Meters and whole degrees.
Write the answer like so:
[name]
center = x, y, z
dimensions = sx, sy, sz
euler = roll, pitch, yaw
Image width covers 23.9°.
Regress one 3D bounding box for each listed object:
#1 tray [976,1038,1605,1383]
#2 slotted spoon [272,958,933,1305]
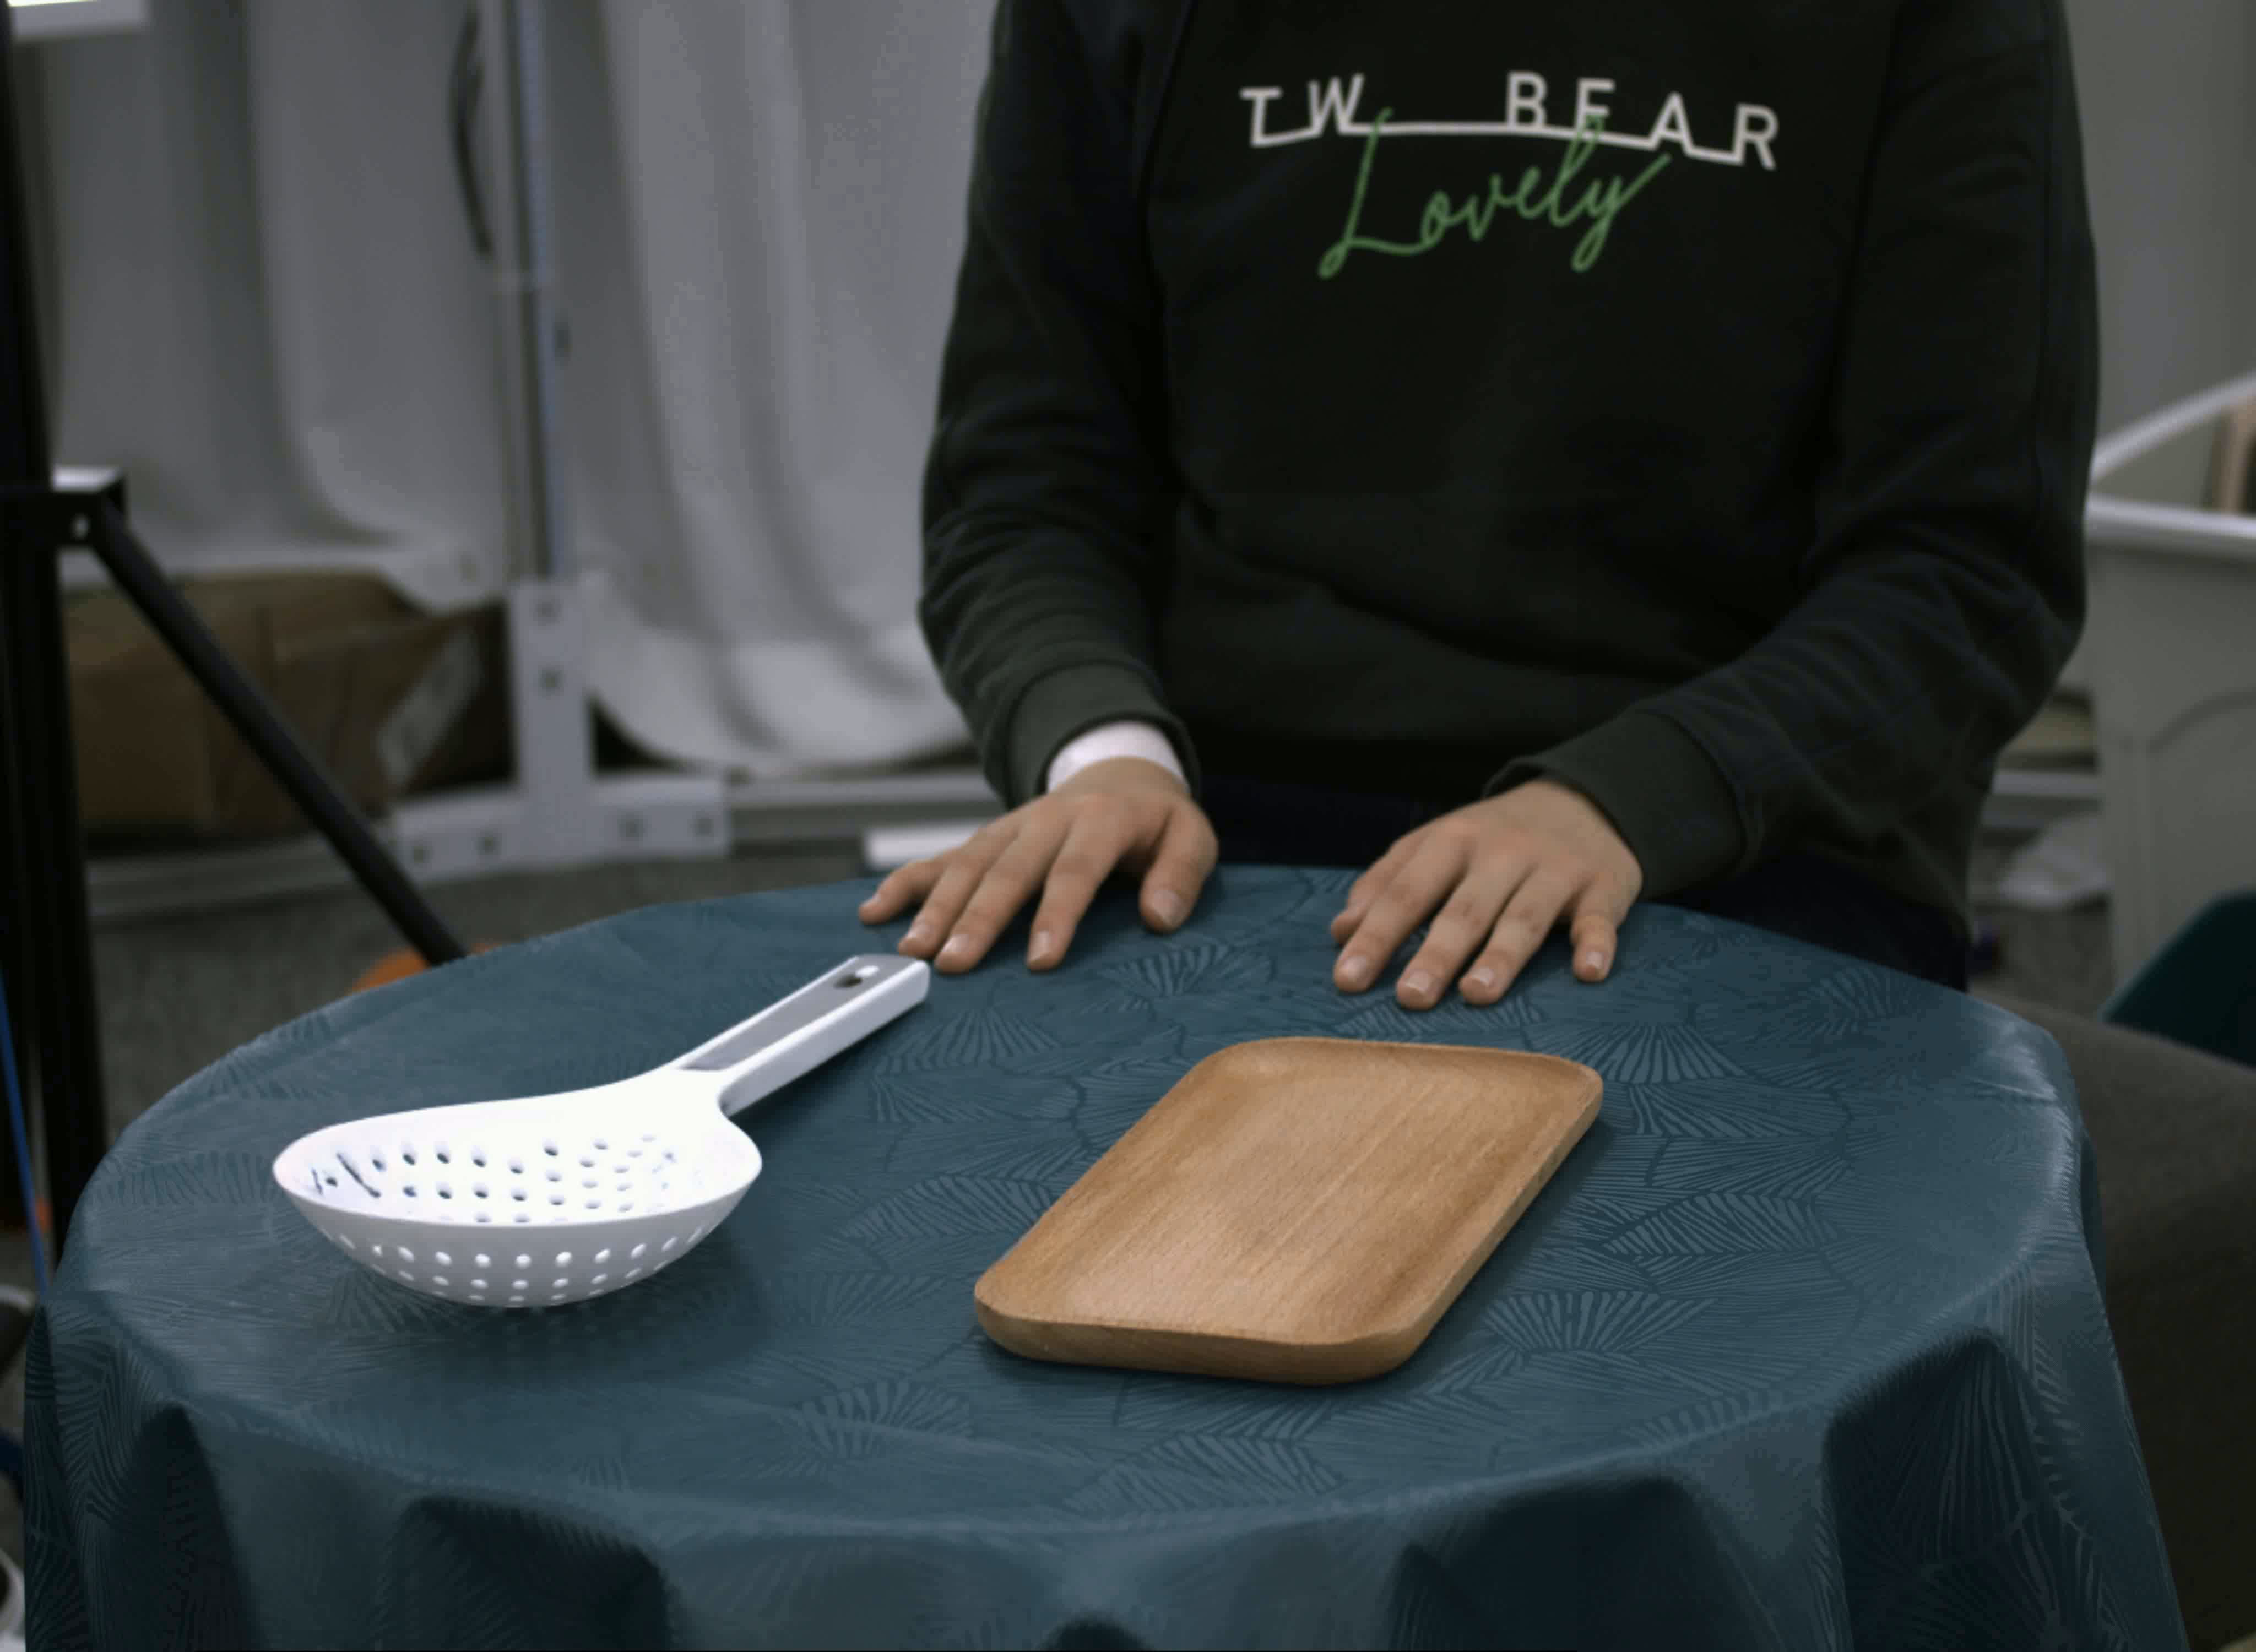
[tray]
center = 0.051, 0.107, 1.521
dimensions = 0.132, 0.023, 0.248
euler = 5, 17, 19
[slotted spoon]
center = -0.135, 0.081, 1.591
dimensions = 0.137, 0.046, 0.345
euler = 6, 17, 20
